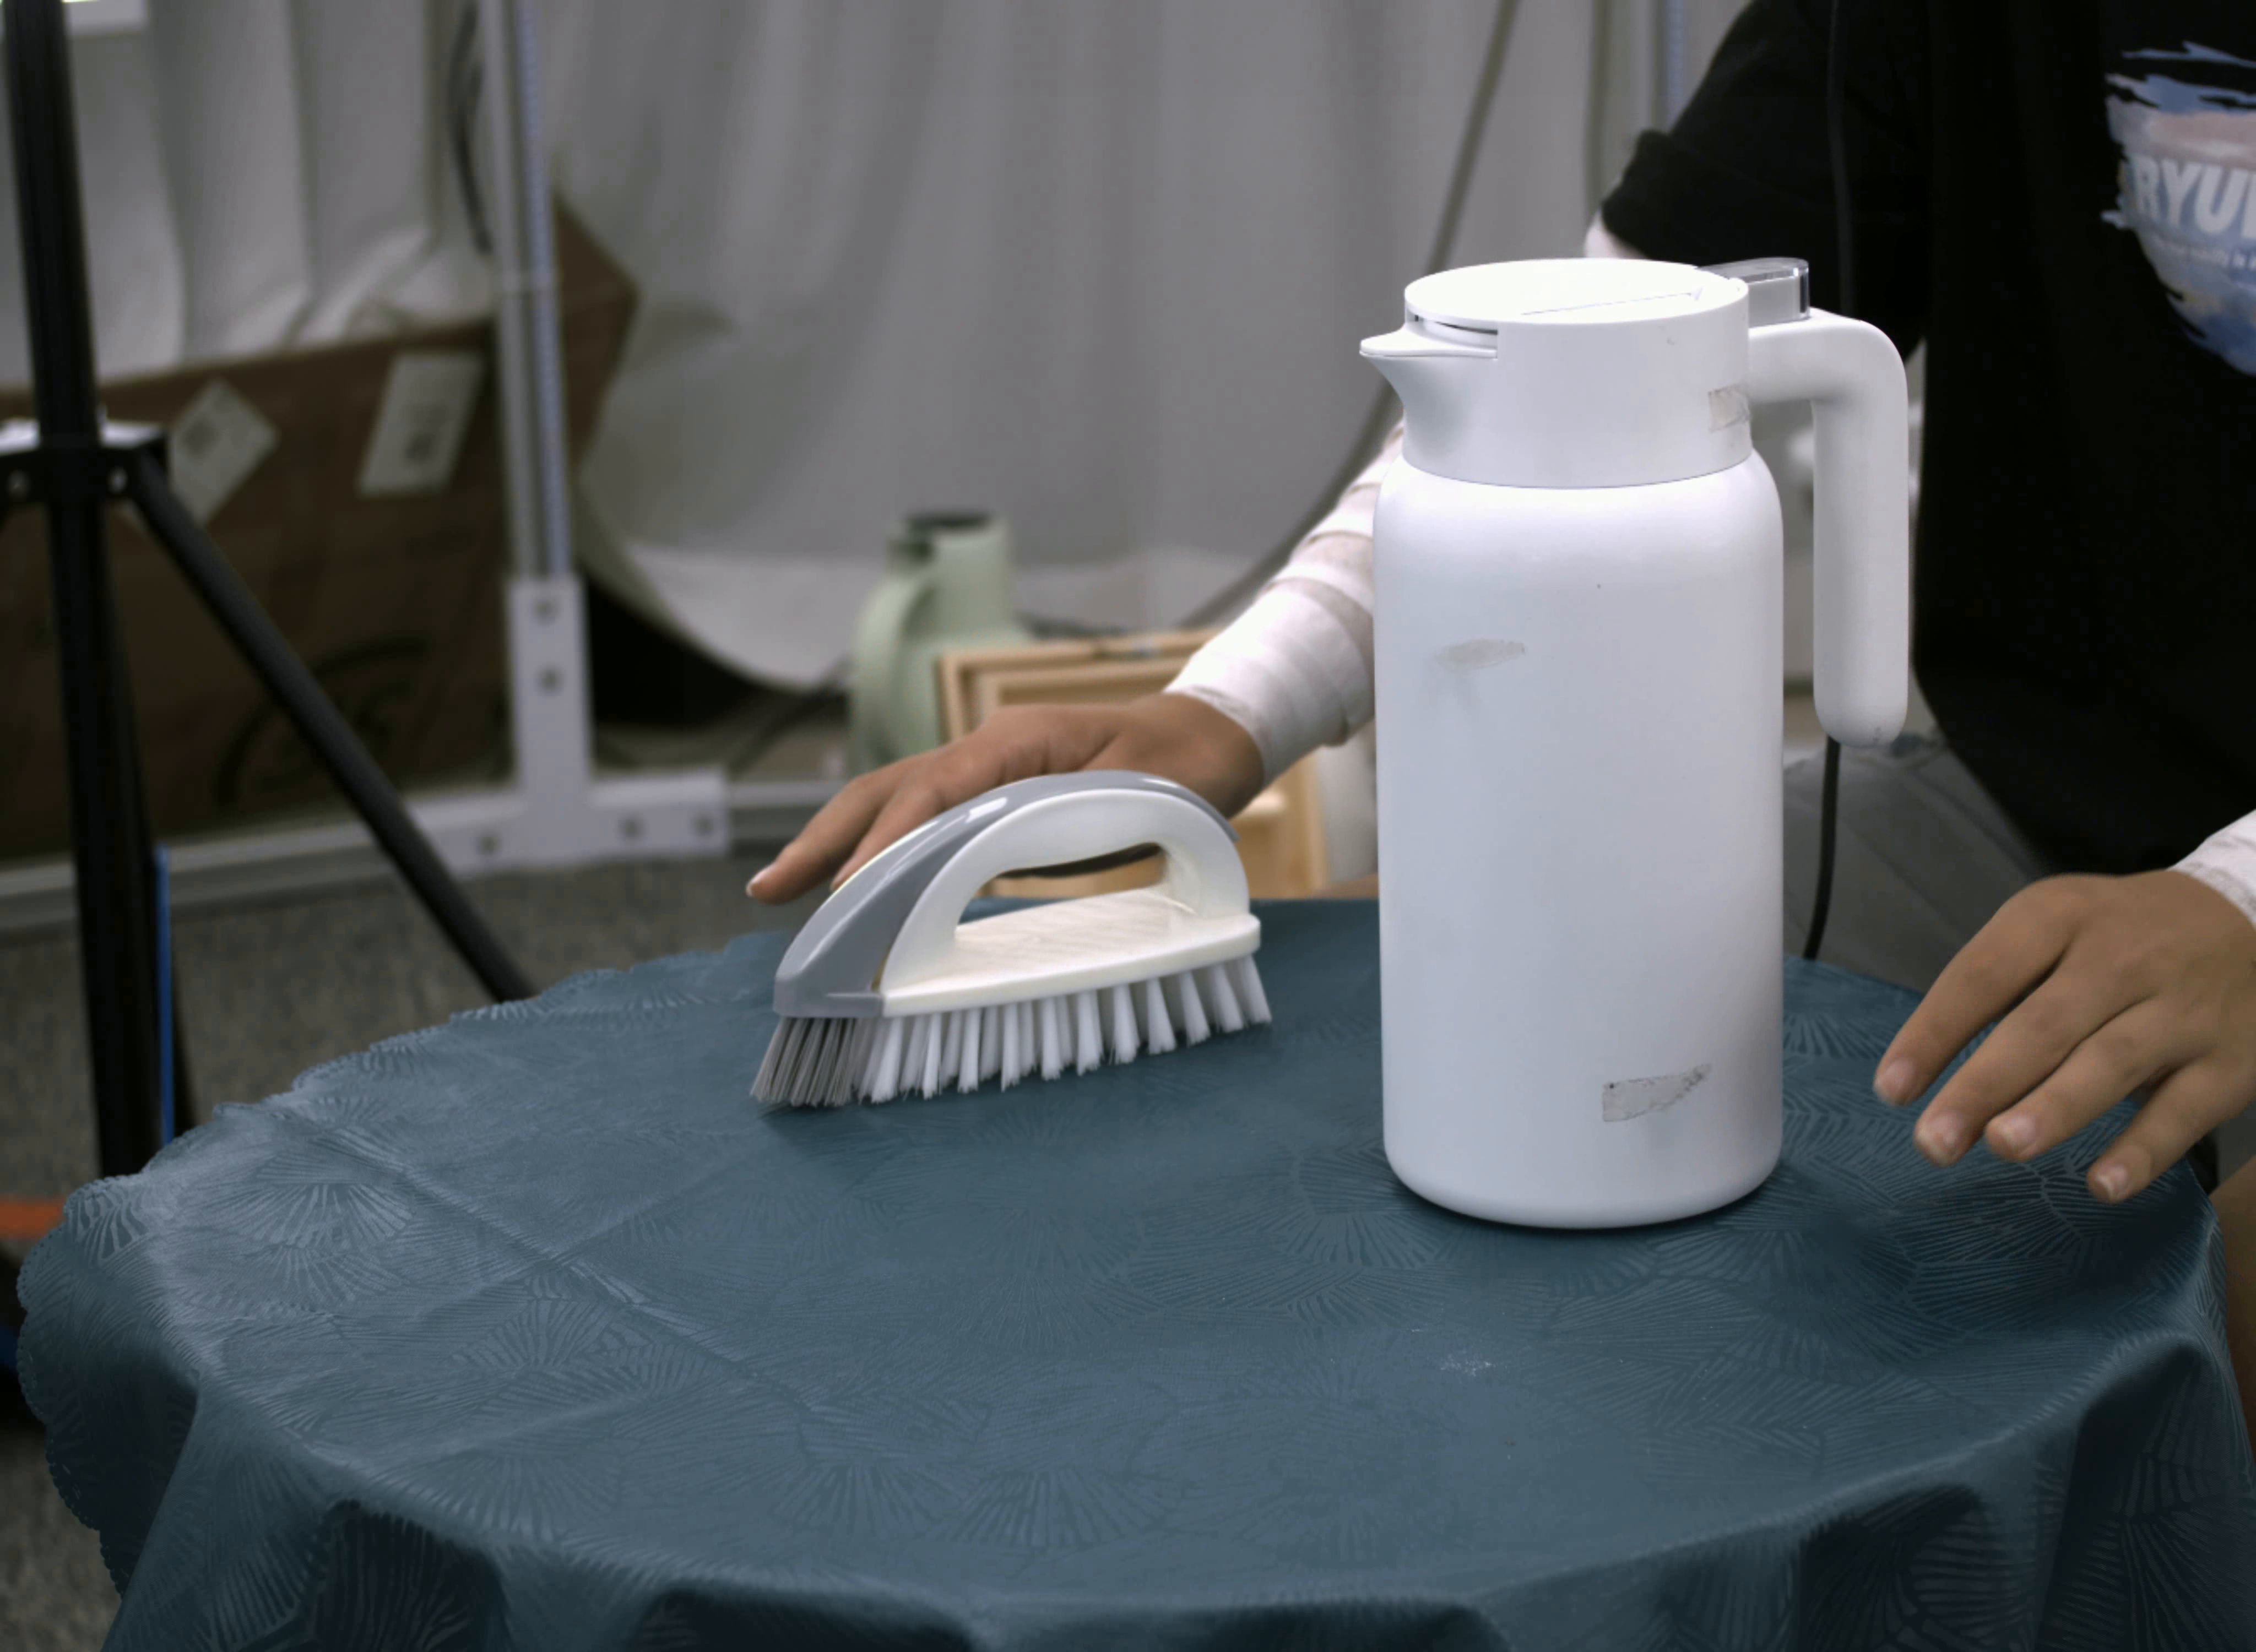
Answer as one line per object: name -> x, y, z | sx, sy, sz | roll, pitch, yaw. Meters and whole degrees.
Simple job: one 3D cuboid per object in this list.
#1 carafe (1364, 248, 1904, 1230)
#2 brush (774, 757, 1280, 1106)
carafe -> 0.144, -0.028, 1.531 | 0.169, 0.269, 0.126 | -9, 14, -25
brush -> -0.037, 0.031, 1.670 | 0.172, 0.094, 0.063 | -12, 16, -27
